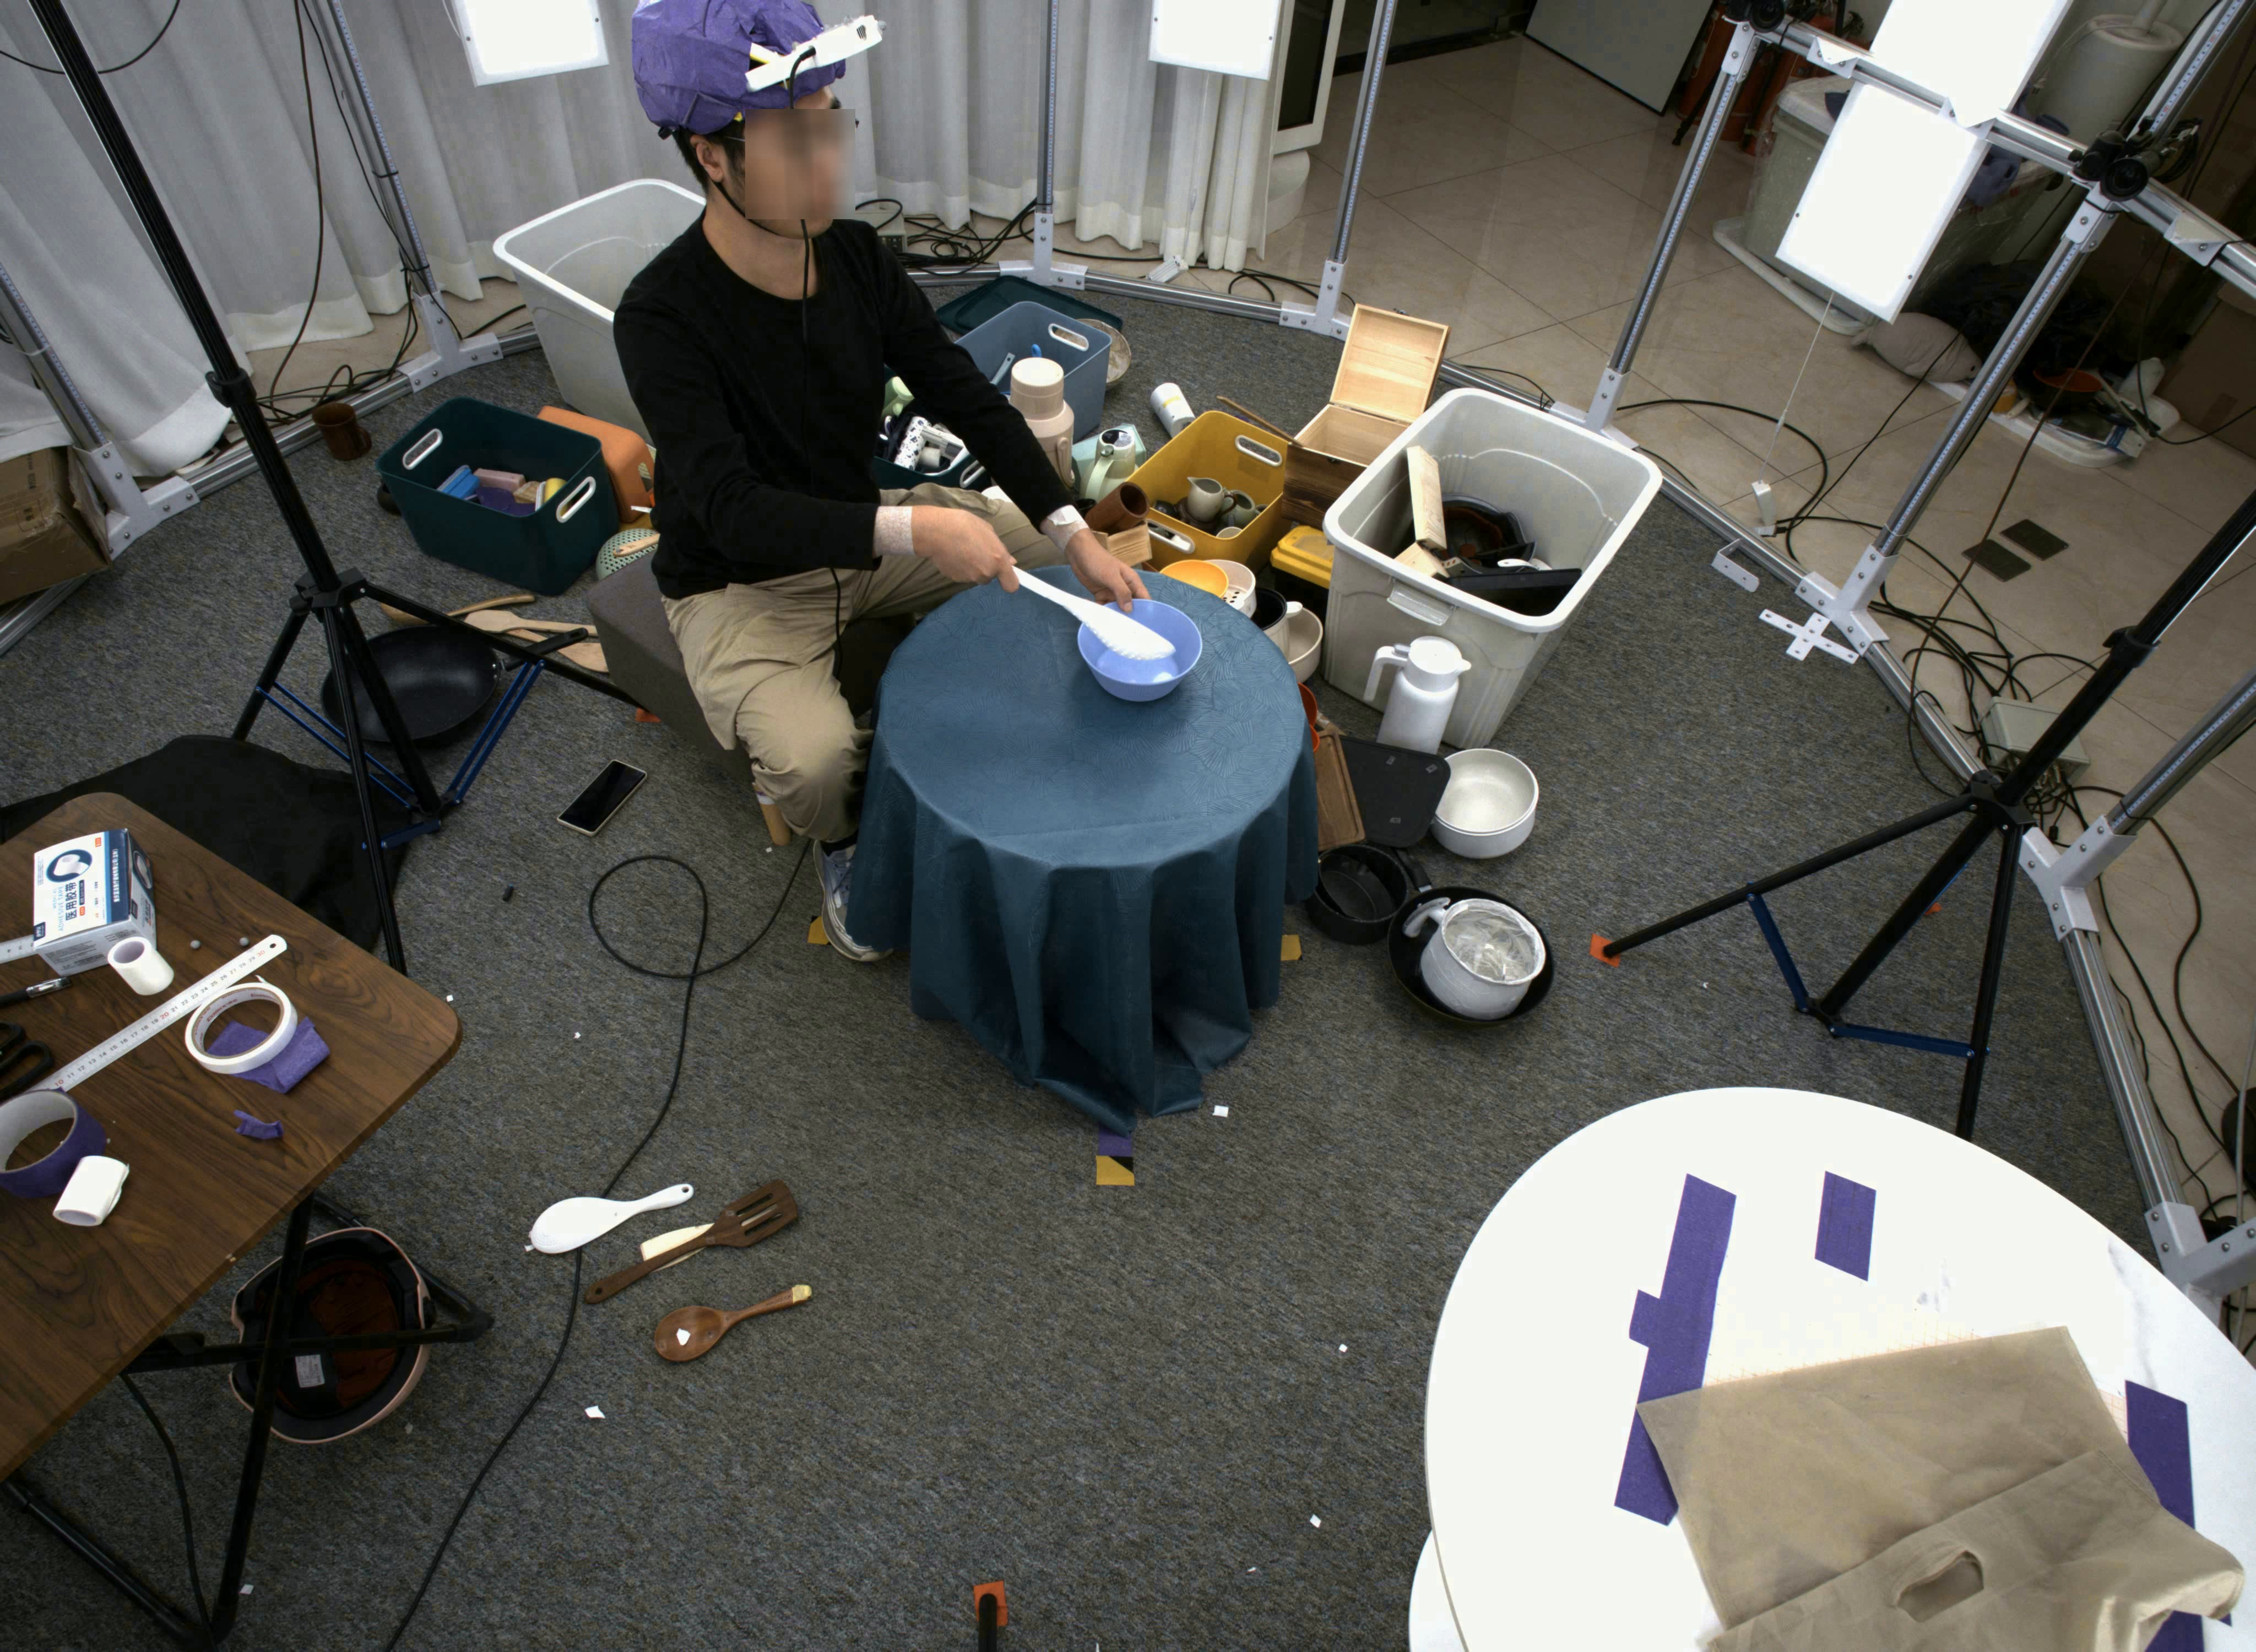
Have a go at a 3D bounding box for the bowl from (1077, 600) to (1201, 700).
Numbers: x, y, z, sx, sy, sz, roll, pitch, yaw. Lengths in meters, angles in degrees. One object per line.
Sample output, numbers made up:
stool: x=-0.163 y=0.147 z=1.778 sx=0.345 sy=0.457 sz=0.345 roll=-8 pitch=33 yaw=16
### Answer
bowl: x=0.014 y=-0.243 z=1.836 sx=0.176 sy=0.068 sz=0.180 roll=1 pitch=48 yaw=-2

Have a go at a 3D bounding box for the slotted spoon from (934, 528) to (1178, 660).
slotted spoon: x=-0.091 y=-0.302 z=1.683 sx=0.347 sy=0.045 sz=0.138 roll=29 pitch=15 yaw=-15
